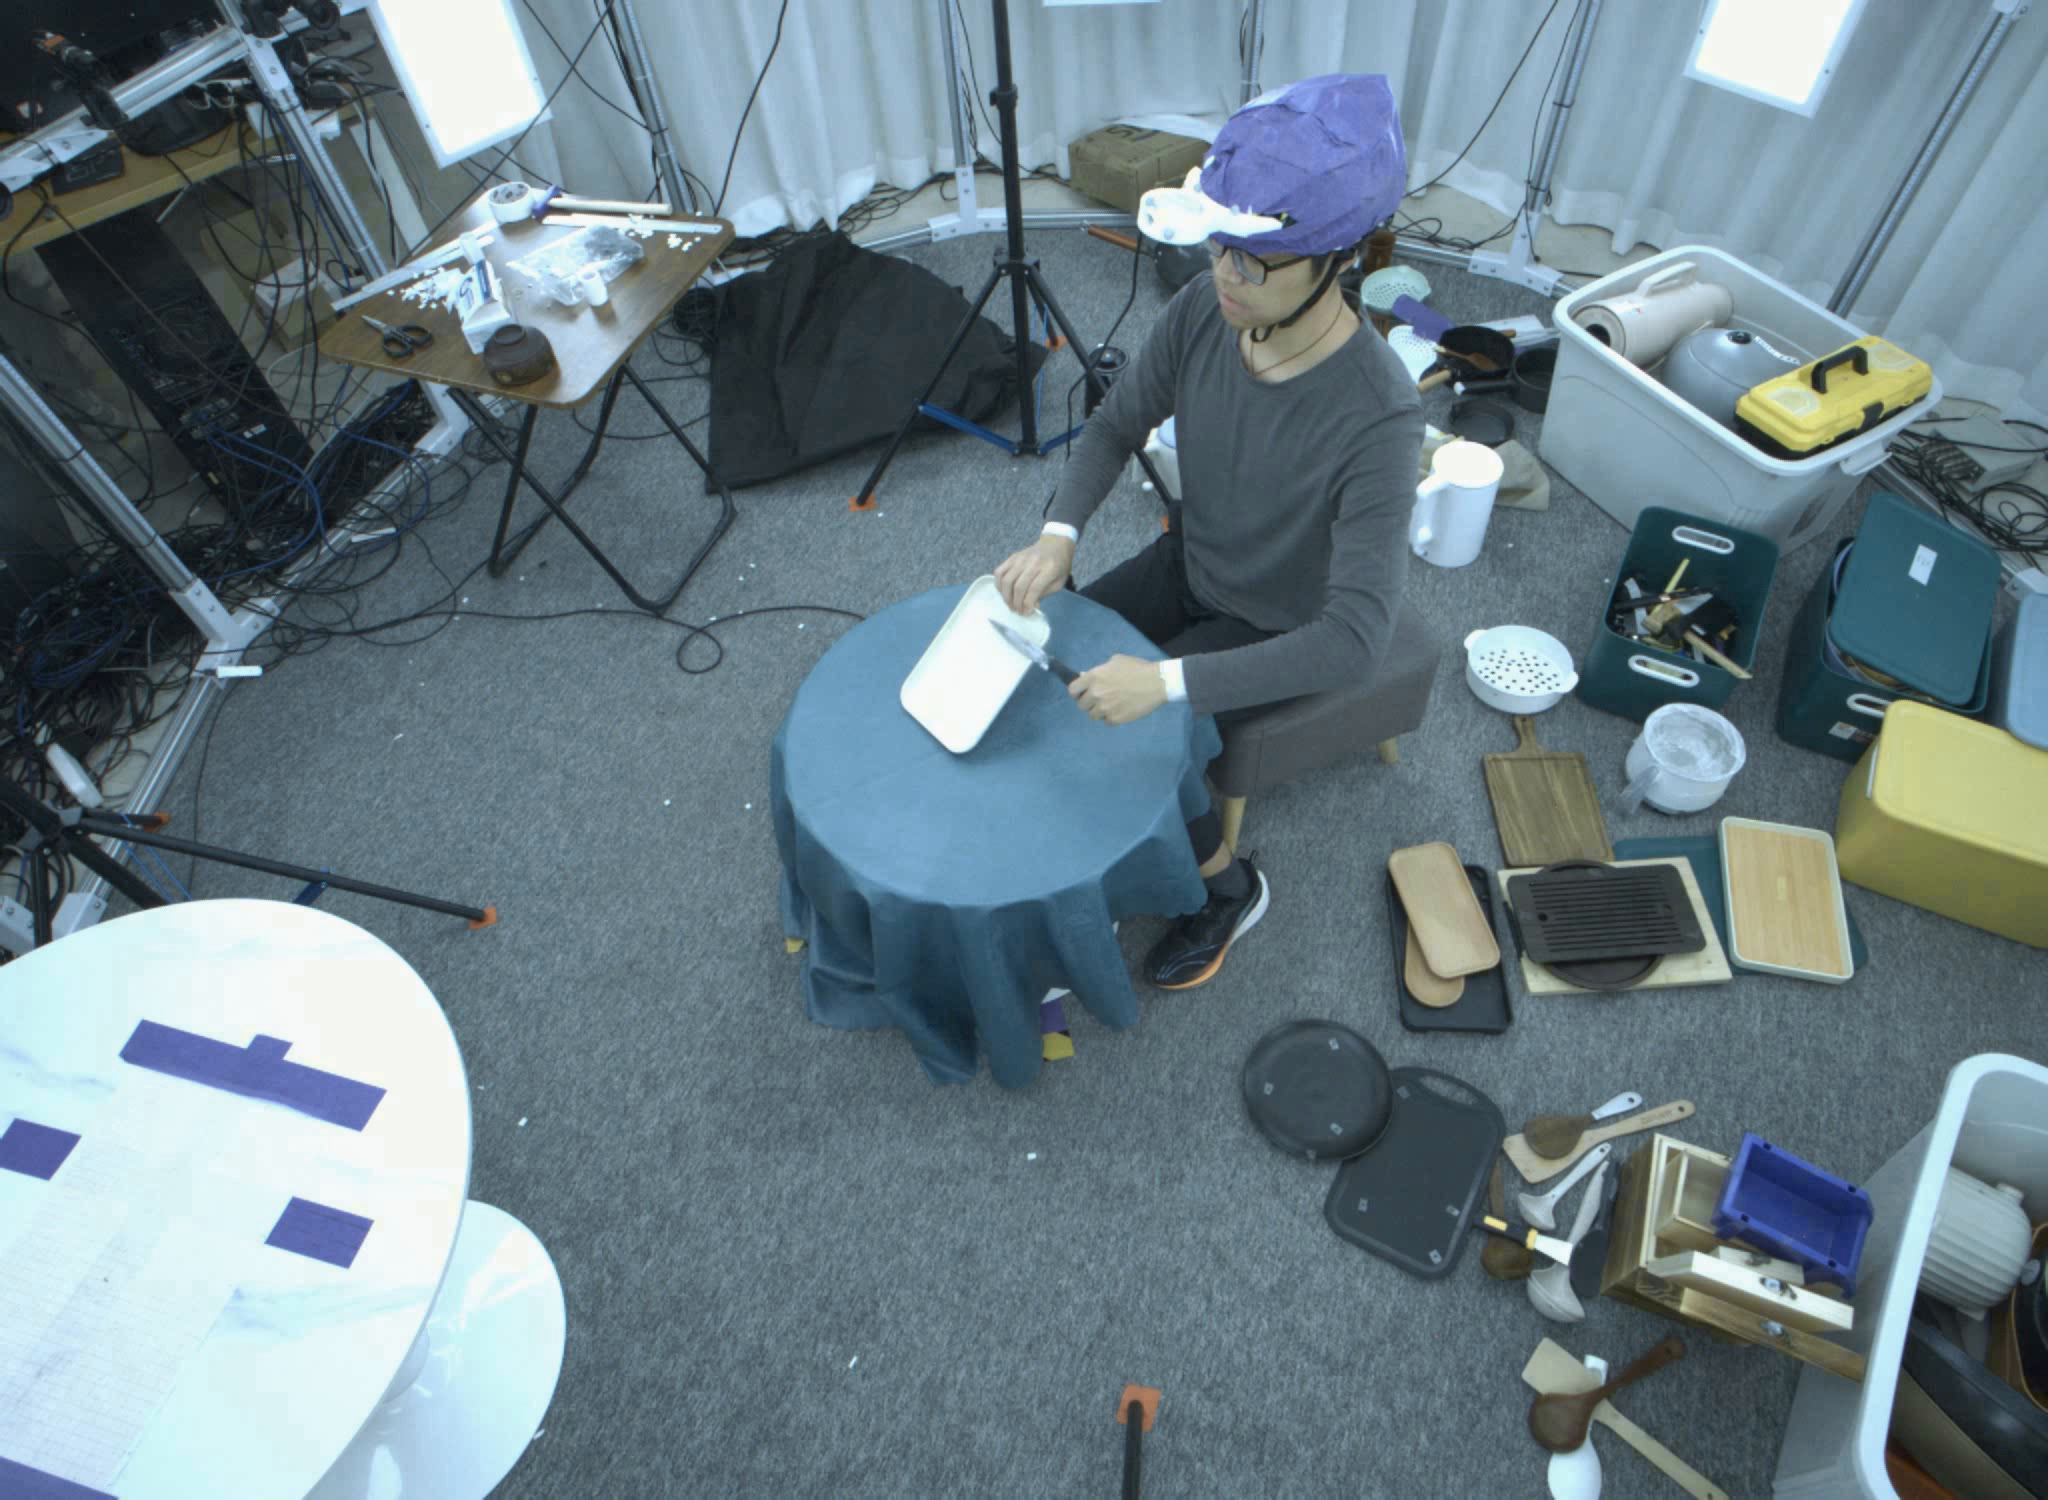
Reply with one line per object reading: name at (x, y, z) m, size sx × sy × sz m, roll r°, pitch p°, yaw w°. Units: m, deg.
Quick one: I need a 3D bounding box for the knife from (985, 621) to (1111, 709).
knife at (0.032, -0.125, 1.725) m, size 0.234 × 0.024 × 0.016 m, roll 36°, pitch 23°, yaw 24°

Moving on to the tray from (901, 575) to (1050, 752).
tray at (-0.072, -0.127, 1.797) m, size 0.168 × 0.018 × 0.239 m, roll 41°, pitch 101°, yaw 31°
